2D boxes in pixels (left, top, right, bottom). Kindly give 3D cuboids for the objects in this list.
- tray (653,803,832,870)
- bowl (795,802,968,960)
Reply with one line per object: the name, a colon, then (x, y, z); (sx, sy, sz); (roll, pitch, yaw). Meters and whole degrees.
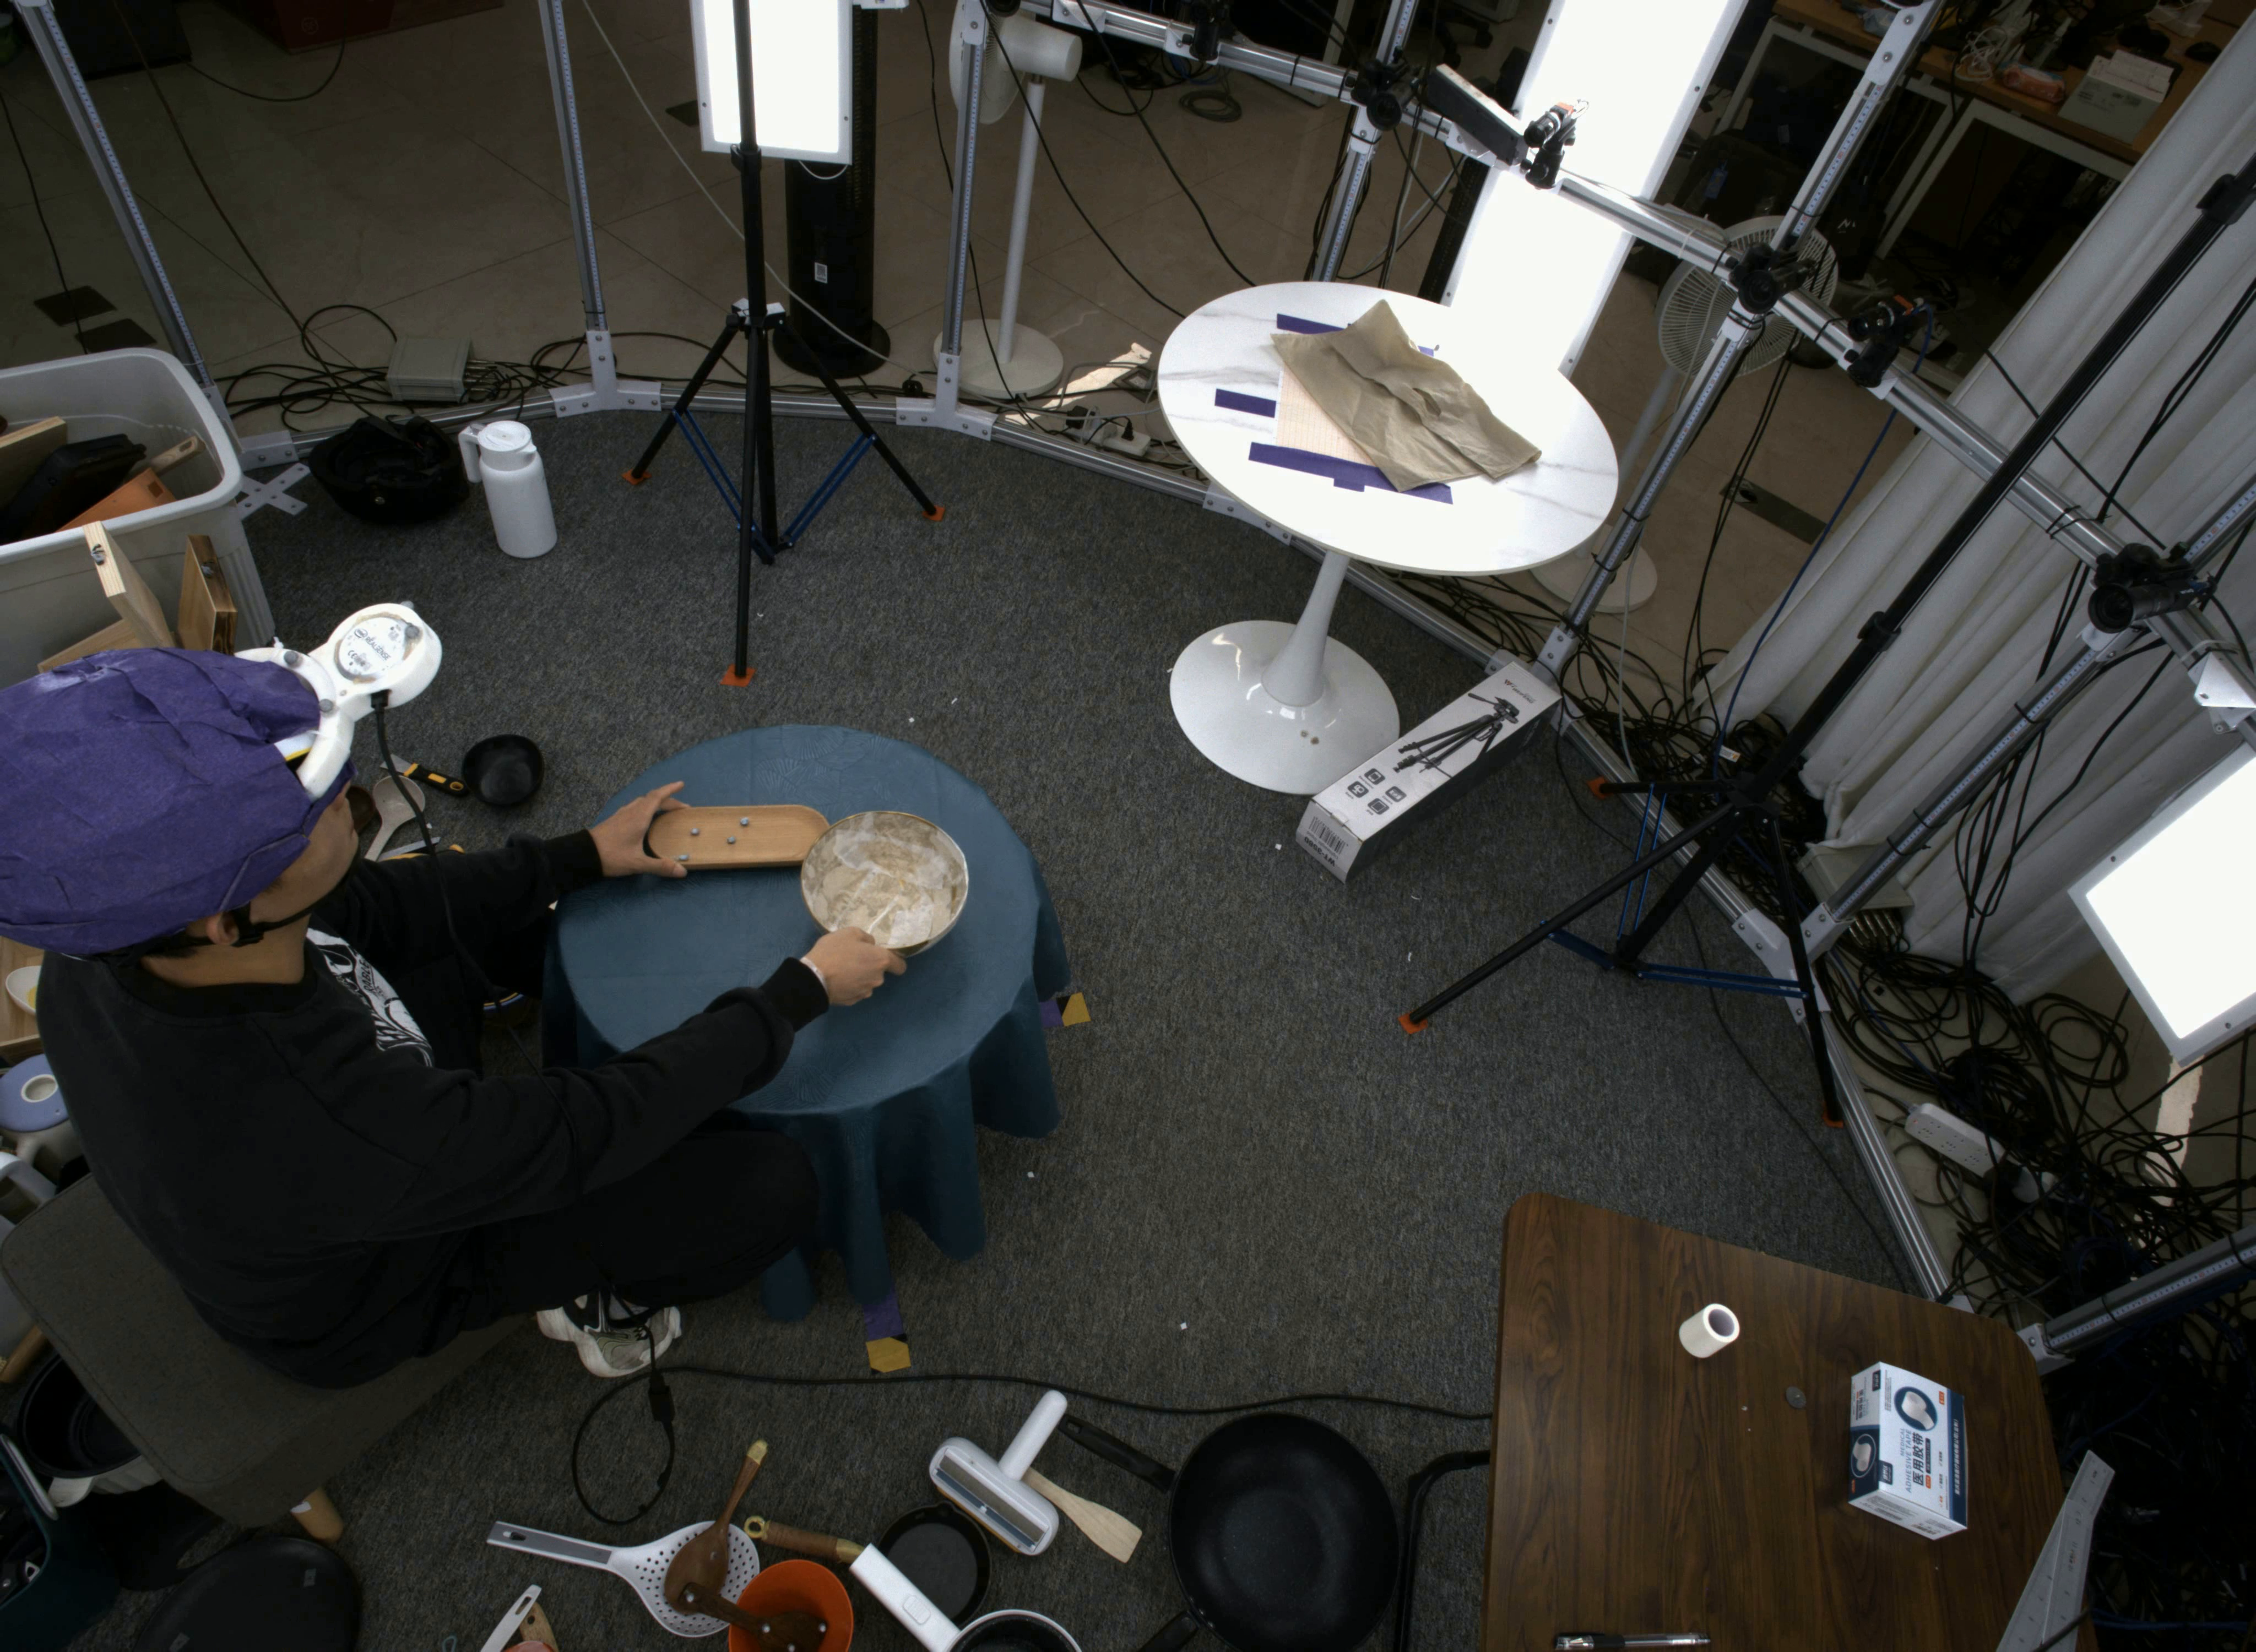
tray: (-0.499, 0.013, 1.681); (0.233, 0.020, 0.099); (-1, 51, -22)
bowl: (-0.305, 0.082, 1.611); (0.214, 0.096, 0.211); (7, 56, -9)
